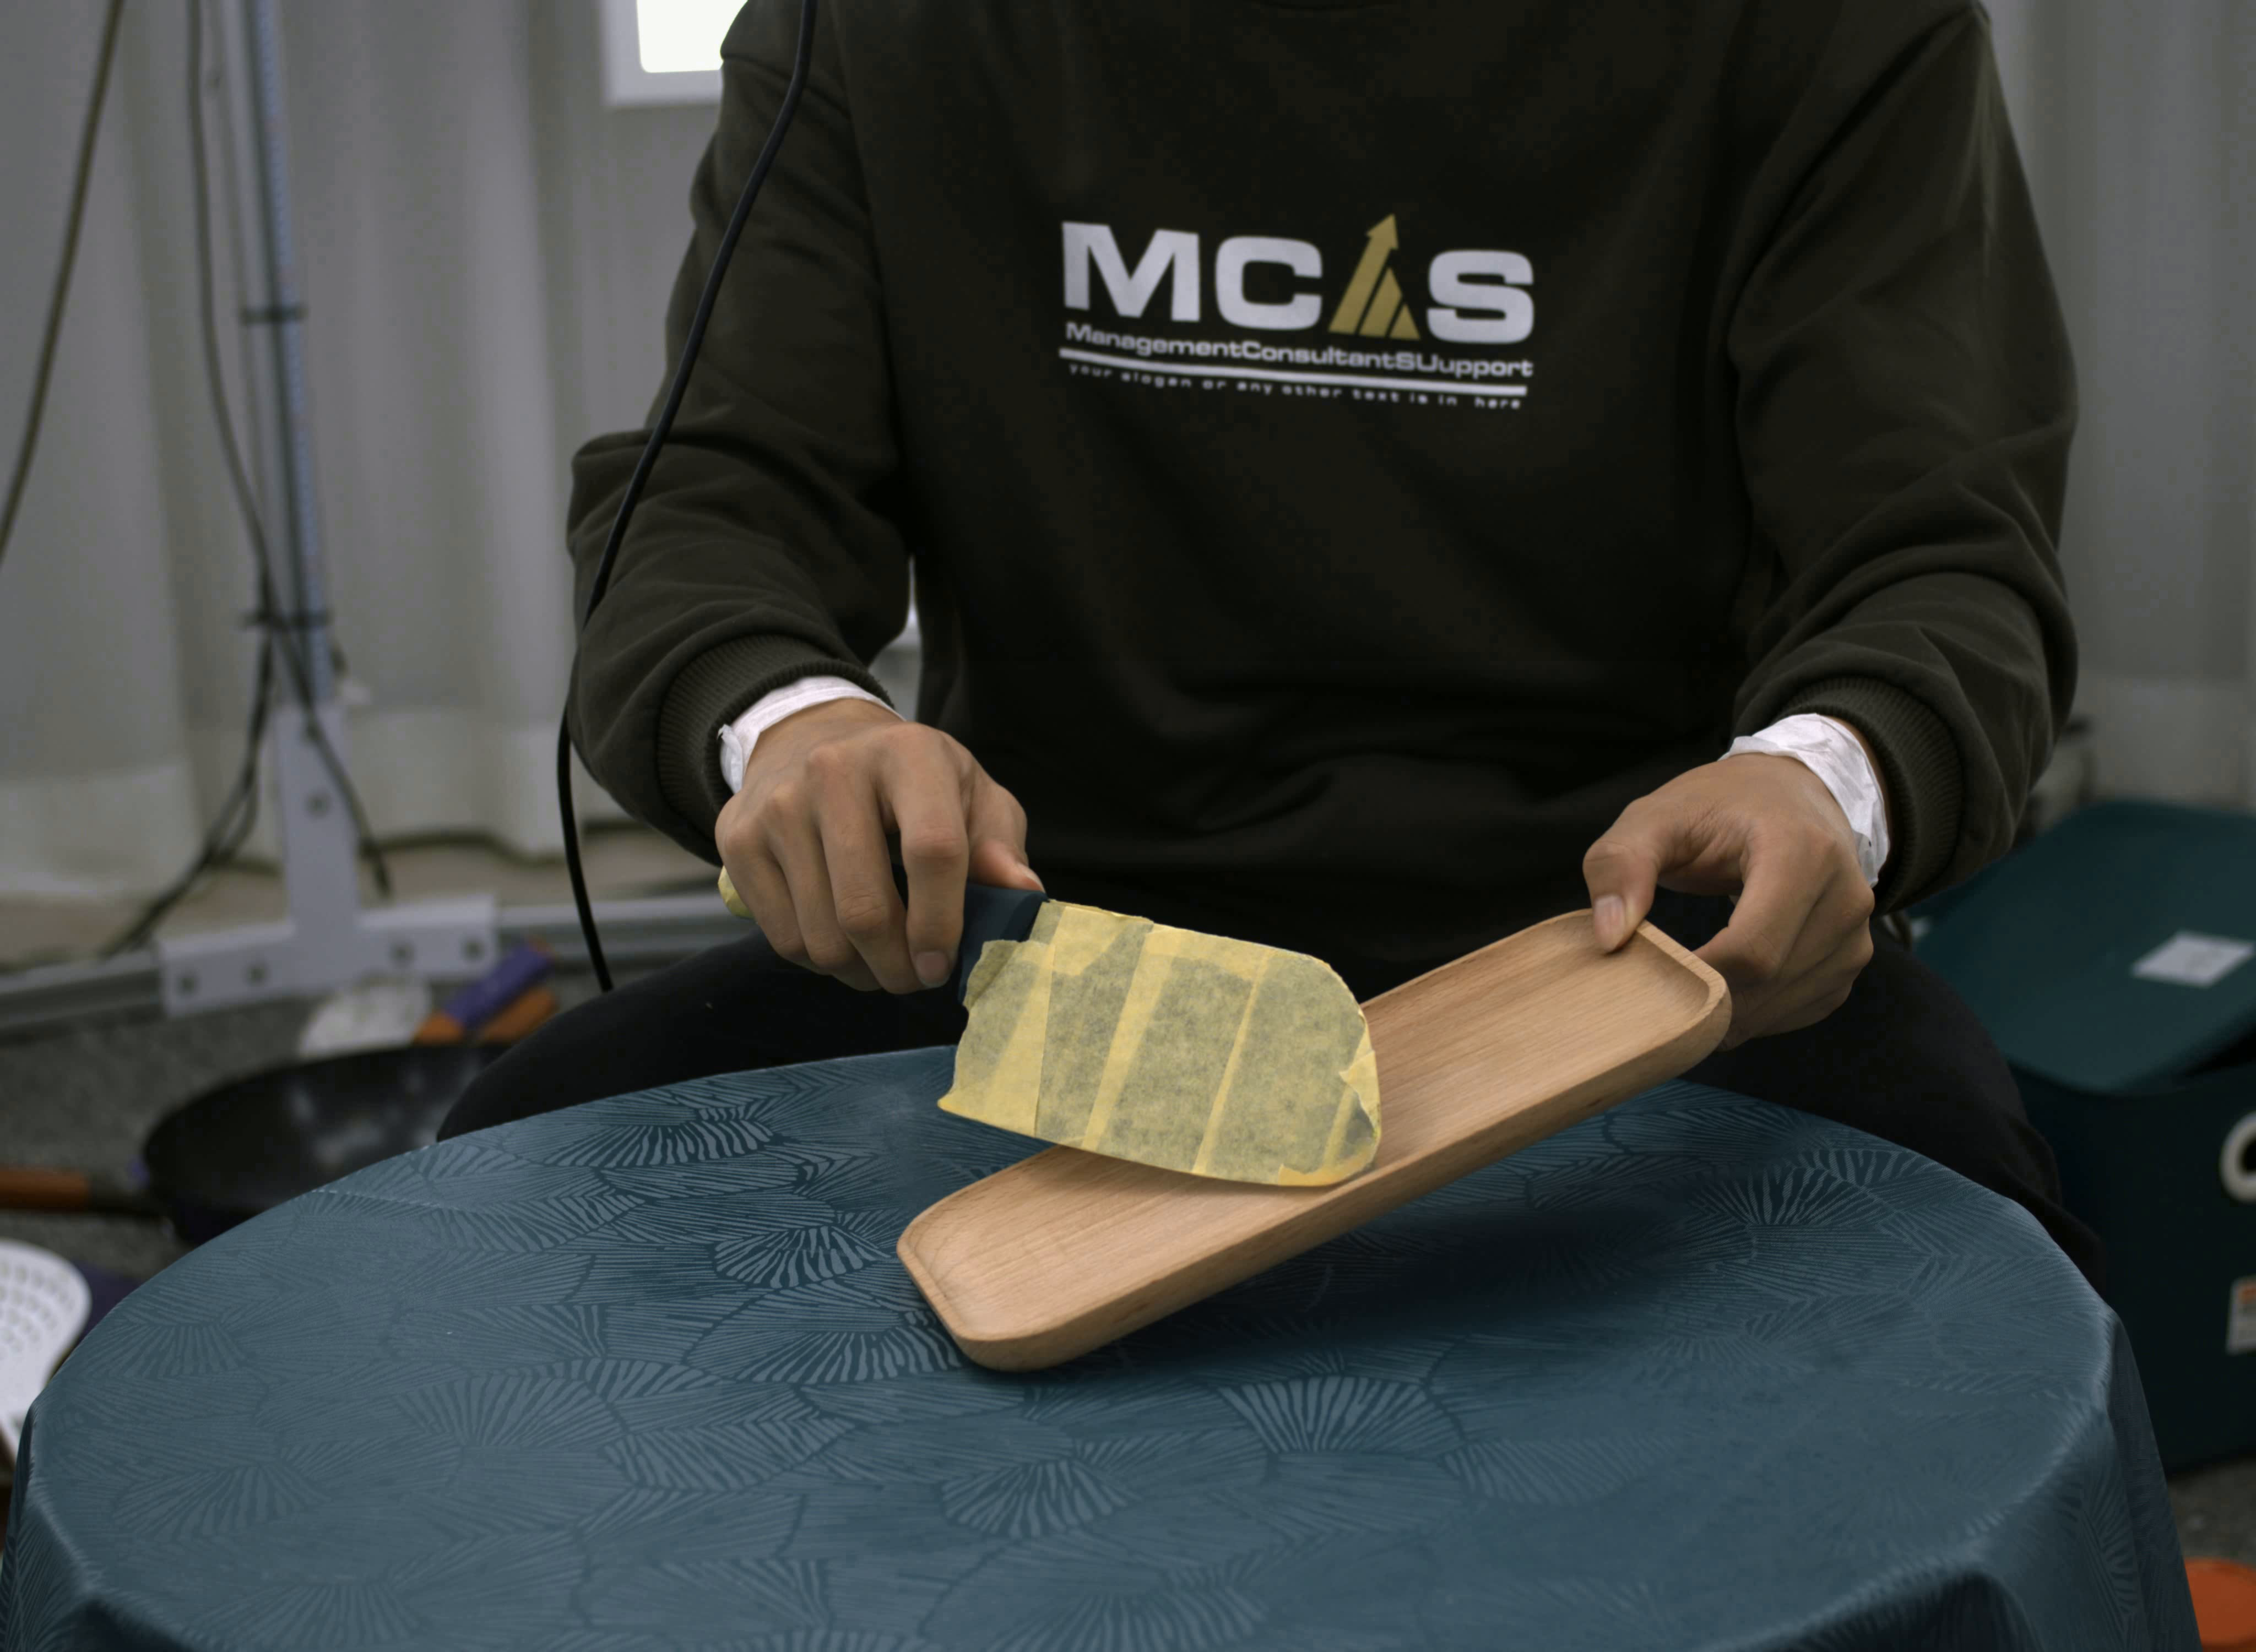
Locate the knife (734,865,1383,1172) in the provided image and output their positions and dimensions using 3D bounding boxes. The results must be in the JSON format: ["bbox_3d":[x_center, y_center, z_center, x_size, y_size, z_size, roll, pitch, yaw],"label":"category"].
[{"bbox_3d":[-0.027,0.056,1.674,0.291,0.081,0.027,14,-13,45],"label":"knife"}]

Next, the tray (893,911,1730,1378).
[{"bbox_3d":[0.054,0.093,1.619,0.250,0.023,0.131,-25,16,-9],"label":"tray"}]
